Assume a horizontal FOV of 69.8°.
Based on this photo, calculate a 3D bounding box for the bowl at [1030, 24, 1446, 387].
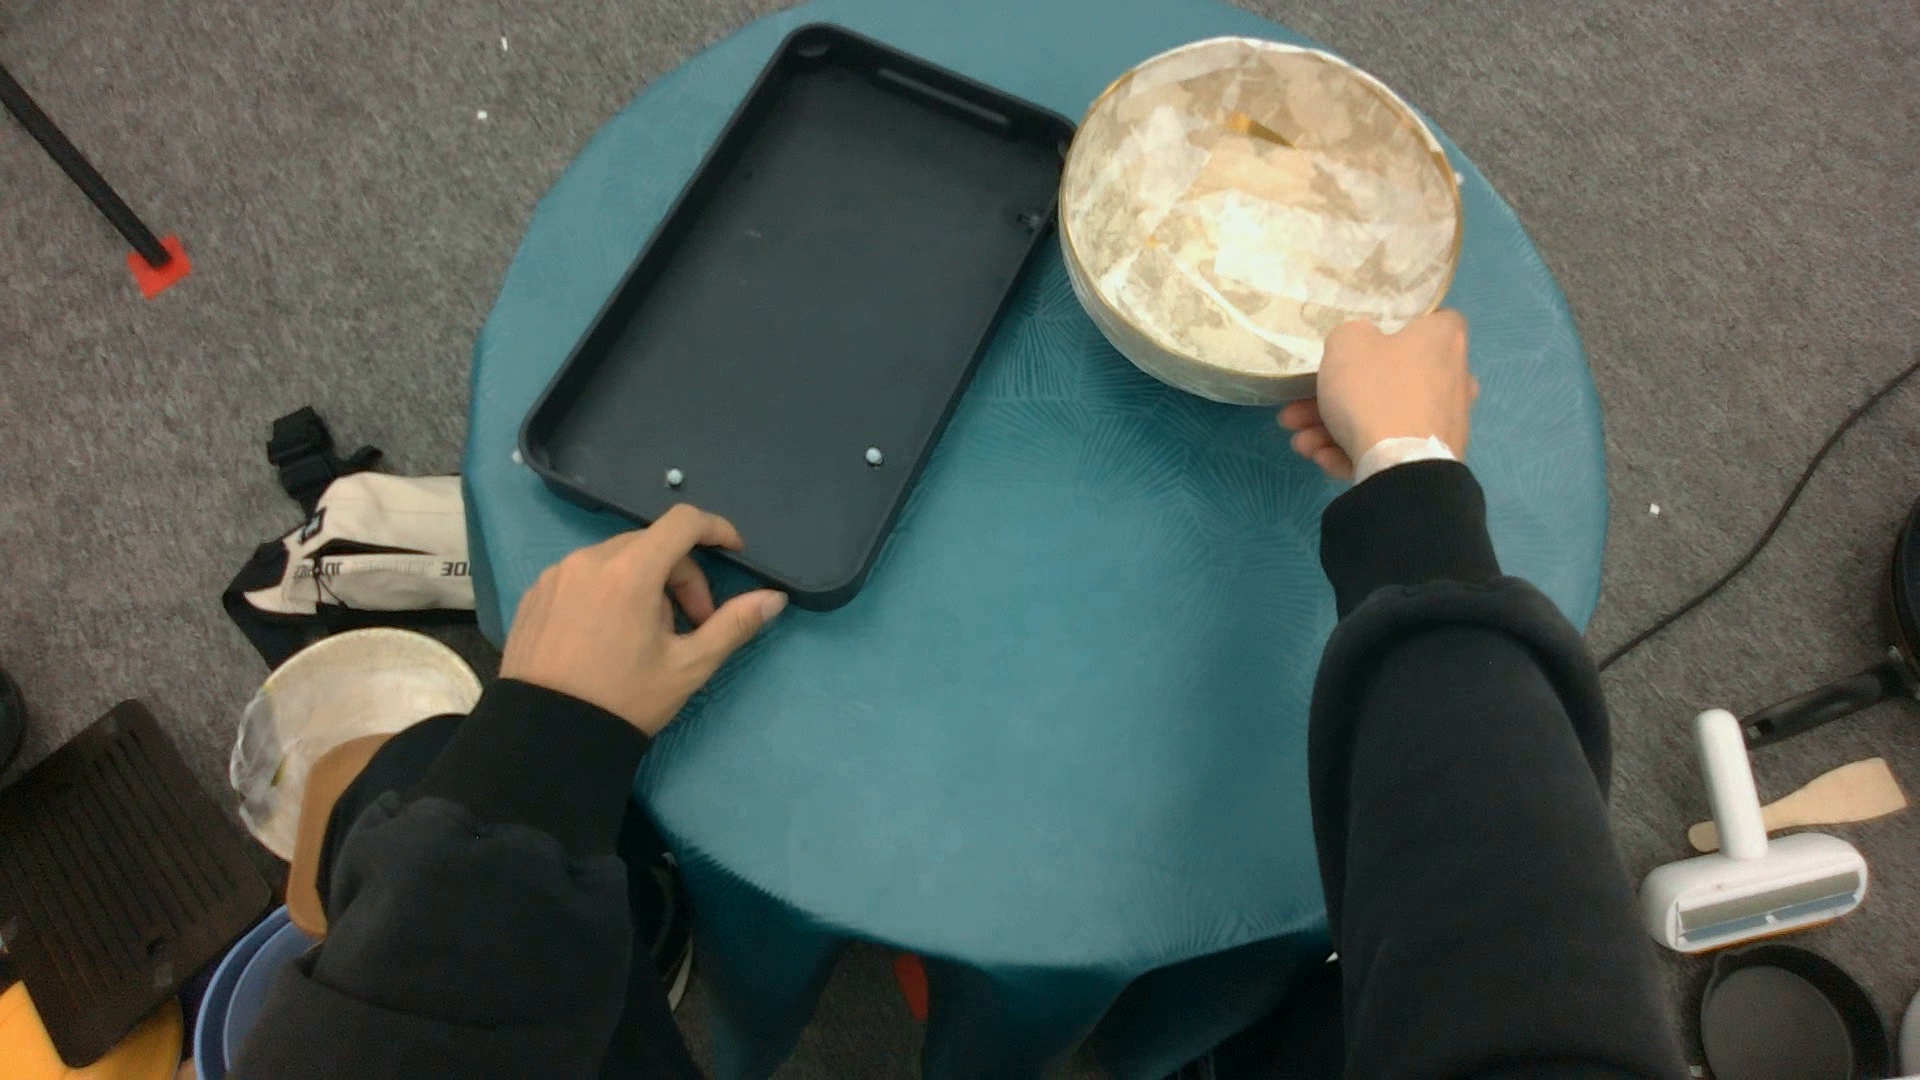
[{"bbox_3d":[0.133,-0.158,0.721,0.215,0.094,0.215,2,67,-4],"label":"bowl"}]

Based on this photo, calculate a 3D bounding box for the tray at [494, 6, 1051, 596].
[{"bbox_3d":[-0.084,-0.137,0.726,0.184,0.037,0.319,25,67,7],"label":"tray"}]
